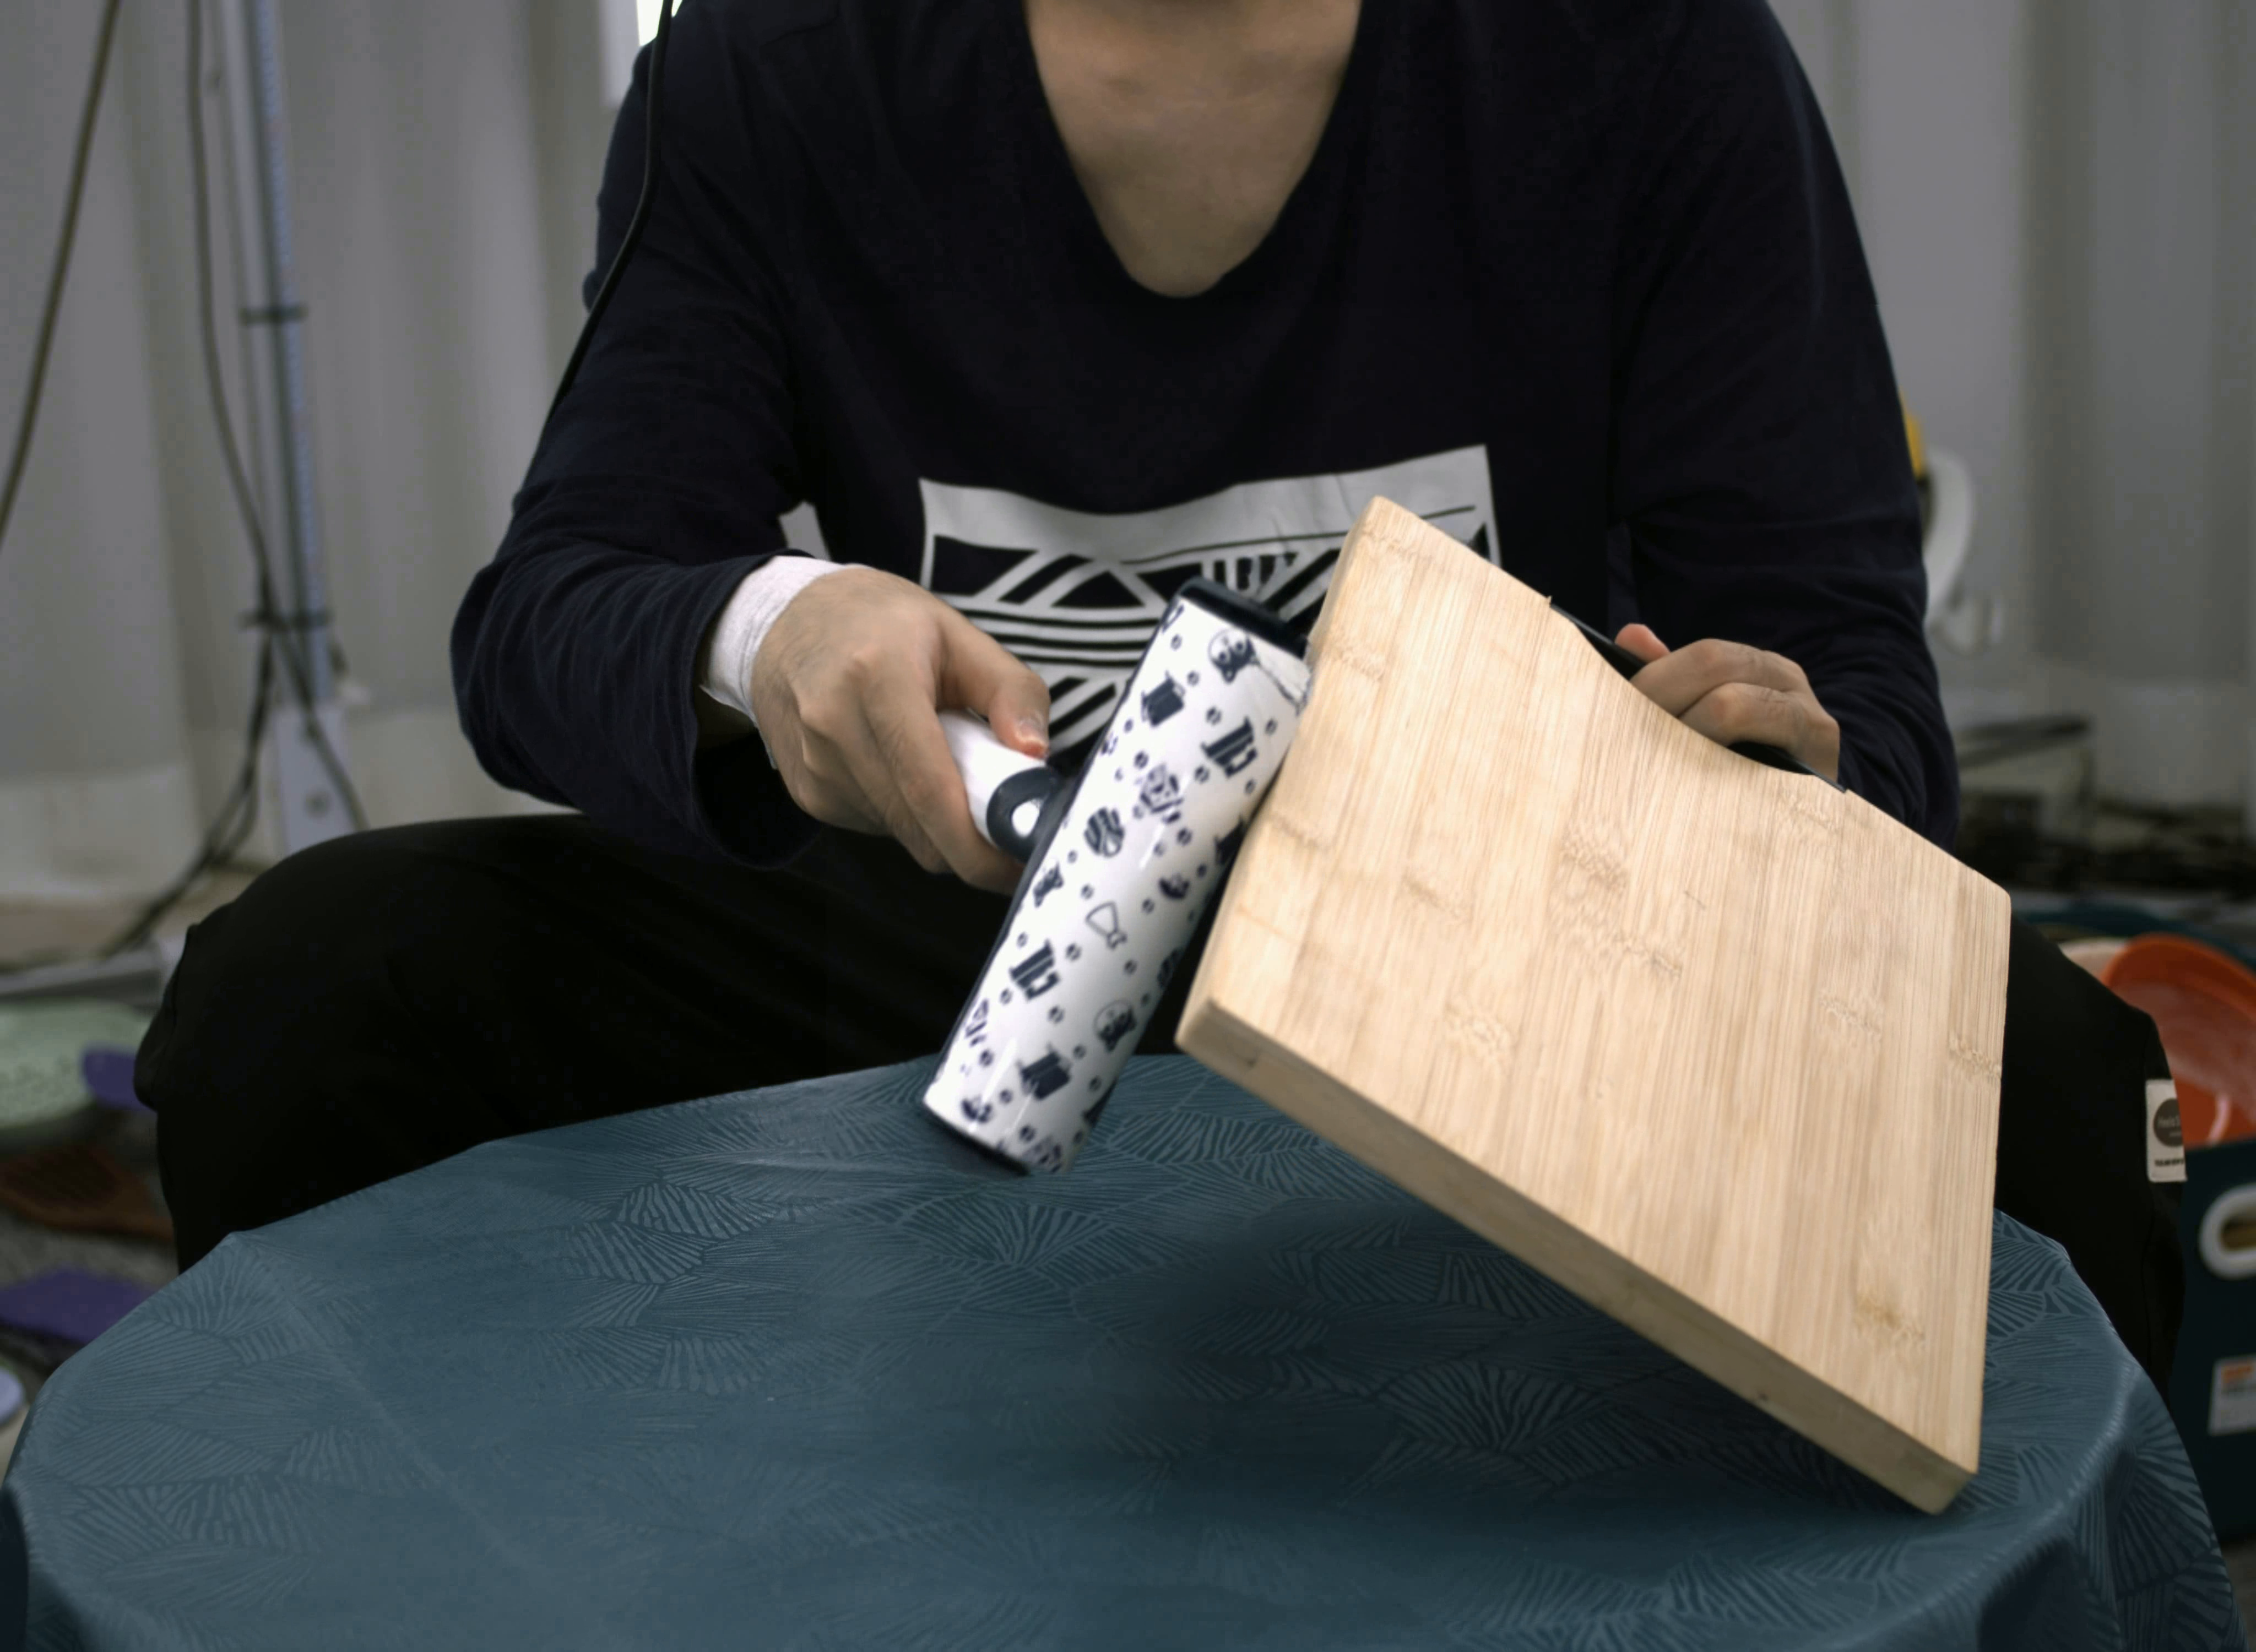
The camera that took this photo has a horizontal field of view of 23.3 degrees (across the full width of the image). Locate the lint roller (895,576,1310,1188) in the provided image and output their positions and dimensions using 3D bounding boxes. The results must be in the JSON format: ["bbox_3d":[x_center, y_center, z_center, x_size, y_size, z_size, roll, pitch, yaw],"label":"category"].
[{"bbox_3d":[-0.035,-0.004,1.618,0.050,0.176,0.249,25,3,-22],"label":"lint roller"}]

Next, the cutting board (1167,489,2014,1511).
[{"bbox_3d":[0.144,0.037,1.570,0.250,0.023,0.352,32,27,-6],"label":"cutting board"}]
